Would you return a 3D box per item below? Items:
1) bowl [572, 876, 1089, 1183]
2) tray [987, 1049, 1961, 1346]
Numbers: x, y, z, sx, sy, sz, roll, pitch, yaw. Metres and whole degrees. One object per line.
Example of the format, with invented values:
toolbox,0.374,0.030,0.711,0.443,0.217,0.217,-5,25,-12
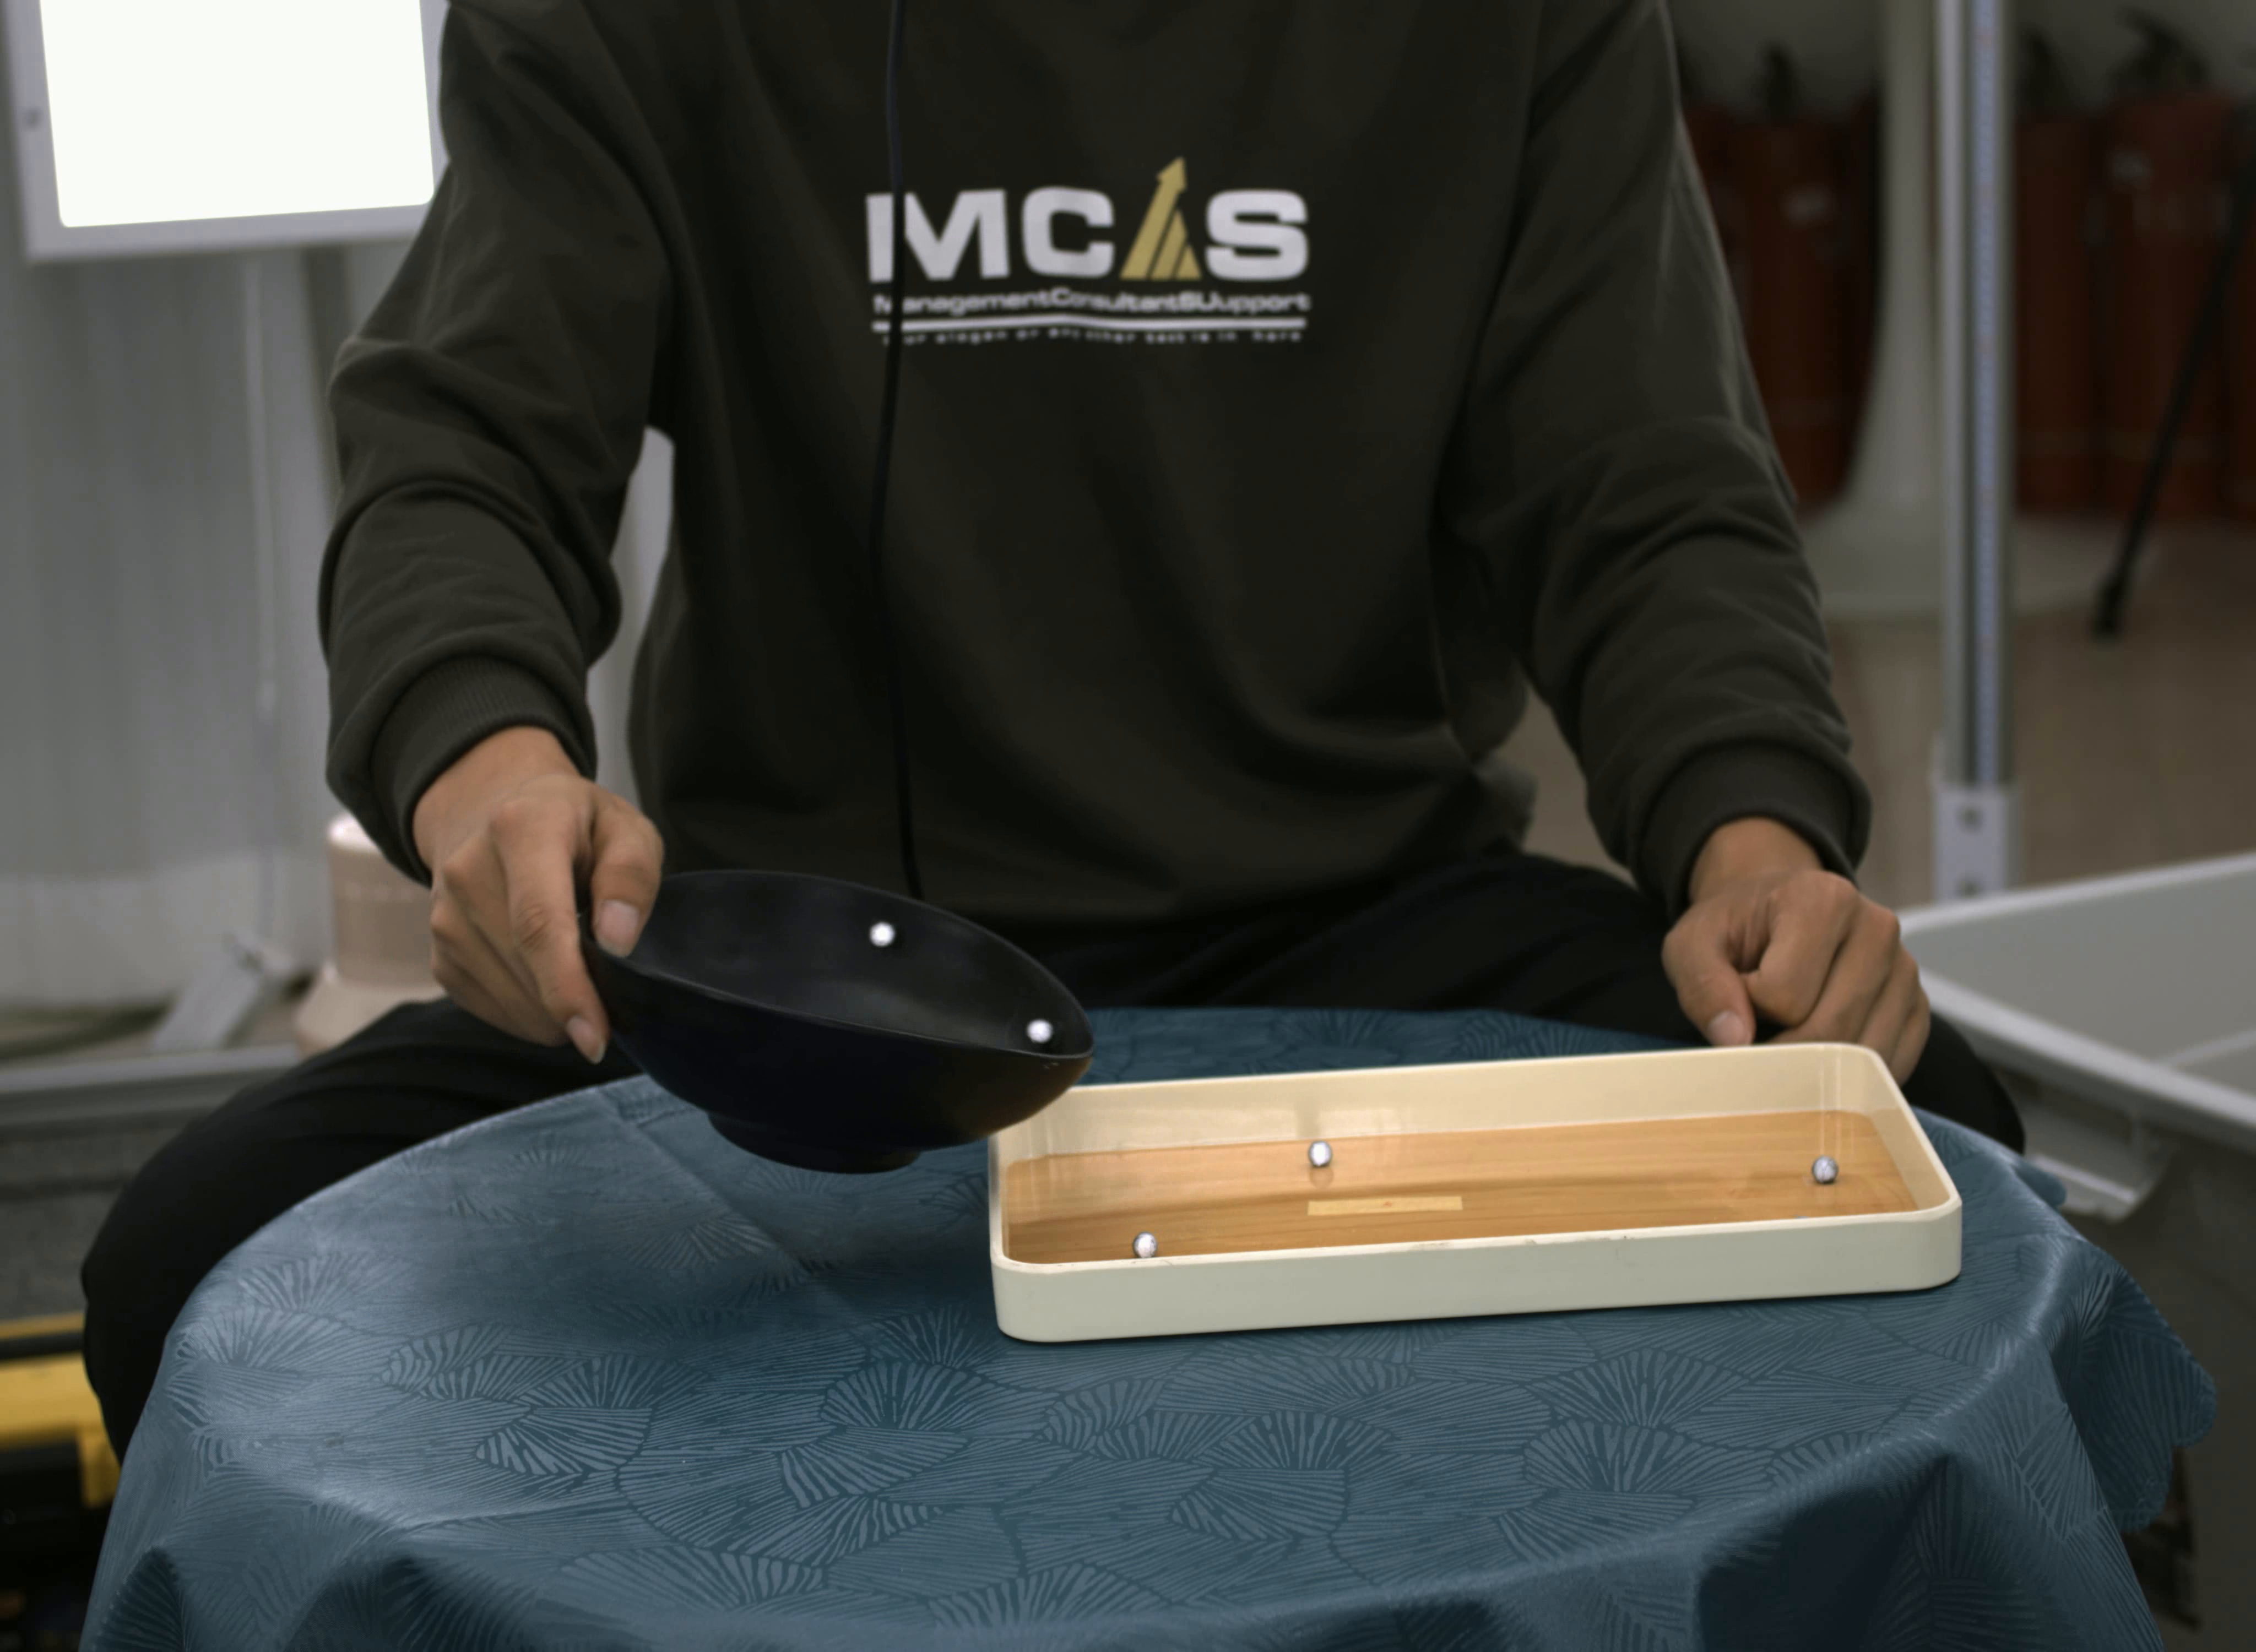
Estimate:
bowl,-0.097,0.070,1.713,0.168,0.067,0.137,12,17,2
tray,0.104,0.117,1.712,0.296,0.028,0.192,-4,13,0
